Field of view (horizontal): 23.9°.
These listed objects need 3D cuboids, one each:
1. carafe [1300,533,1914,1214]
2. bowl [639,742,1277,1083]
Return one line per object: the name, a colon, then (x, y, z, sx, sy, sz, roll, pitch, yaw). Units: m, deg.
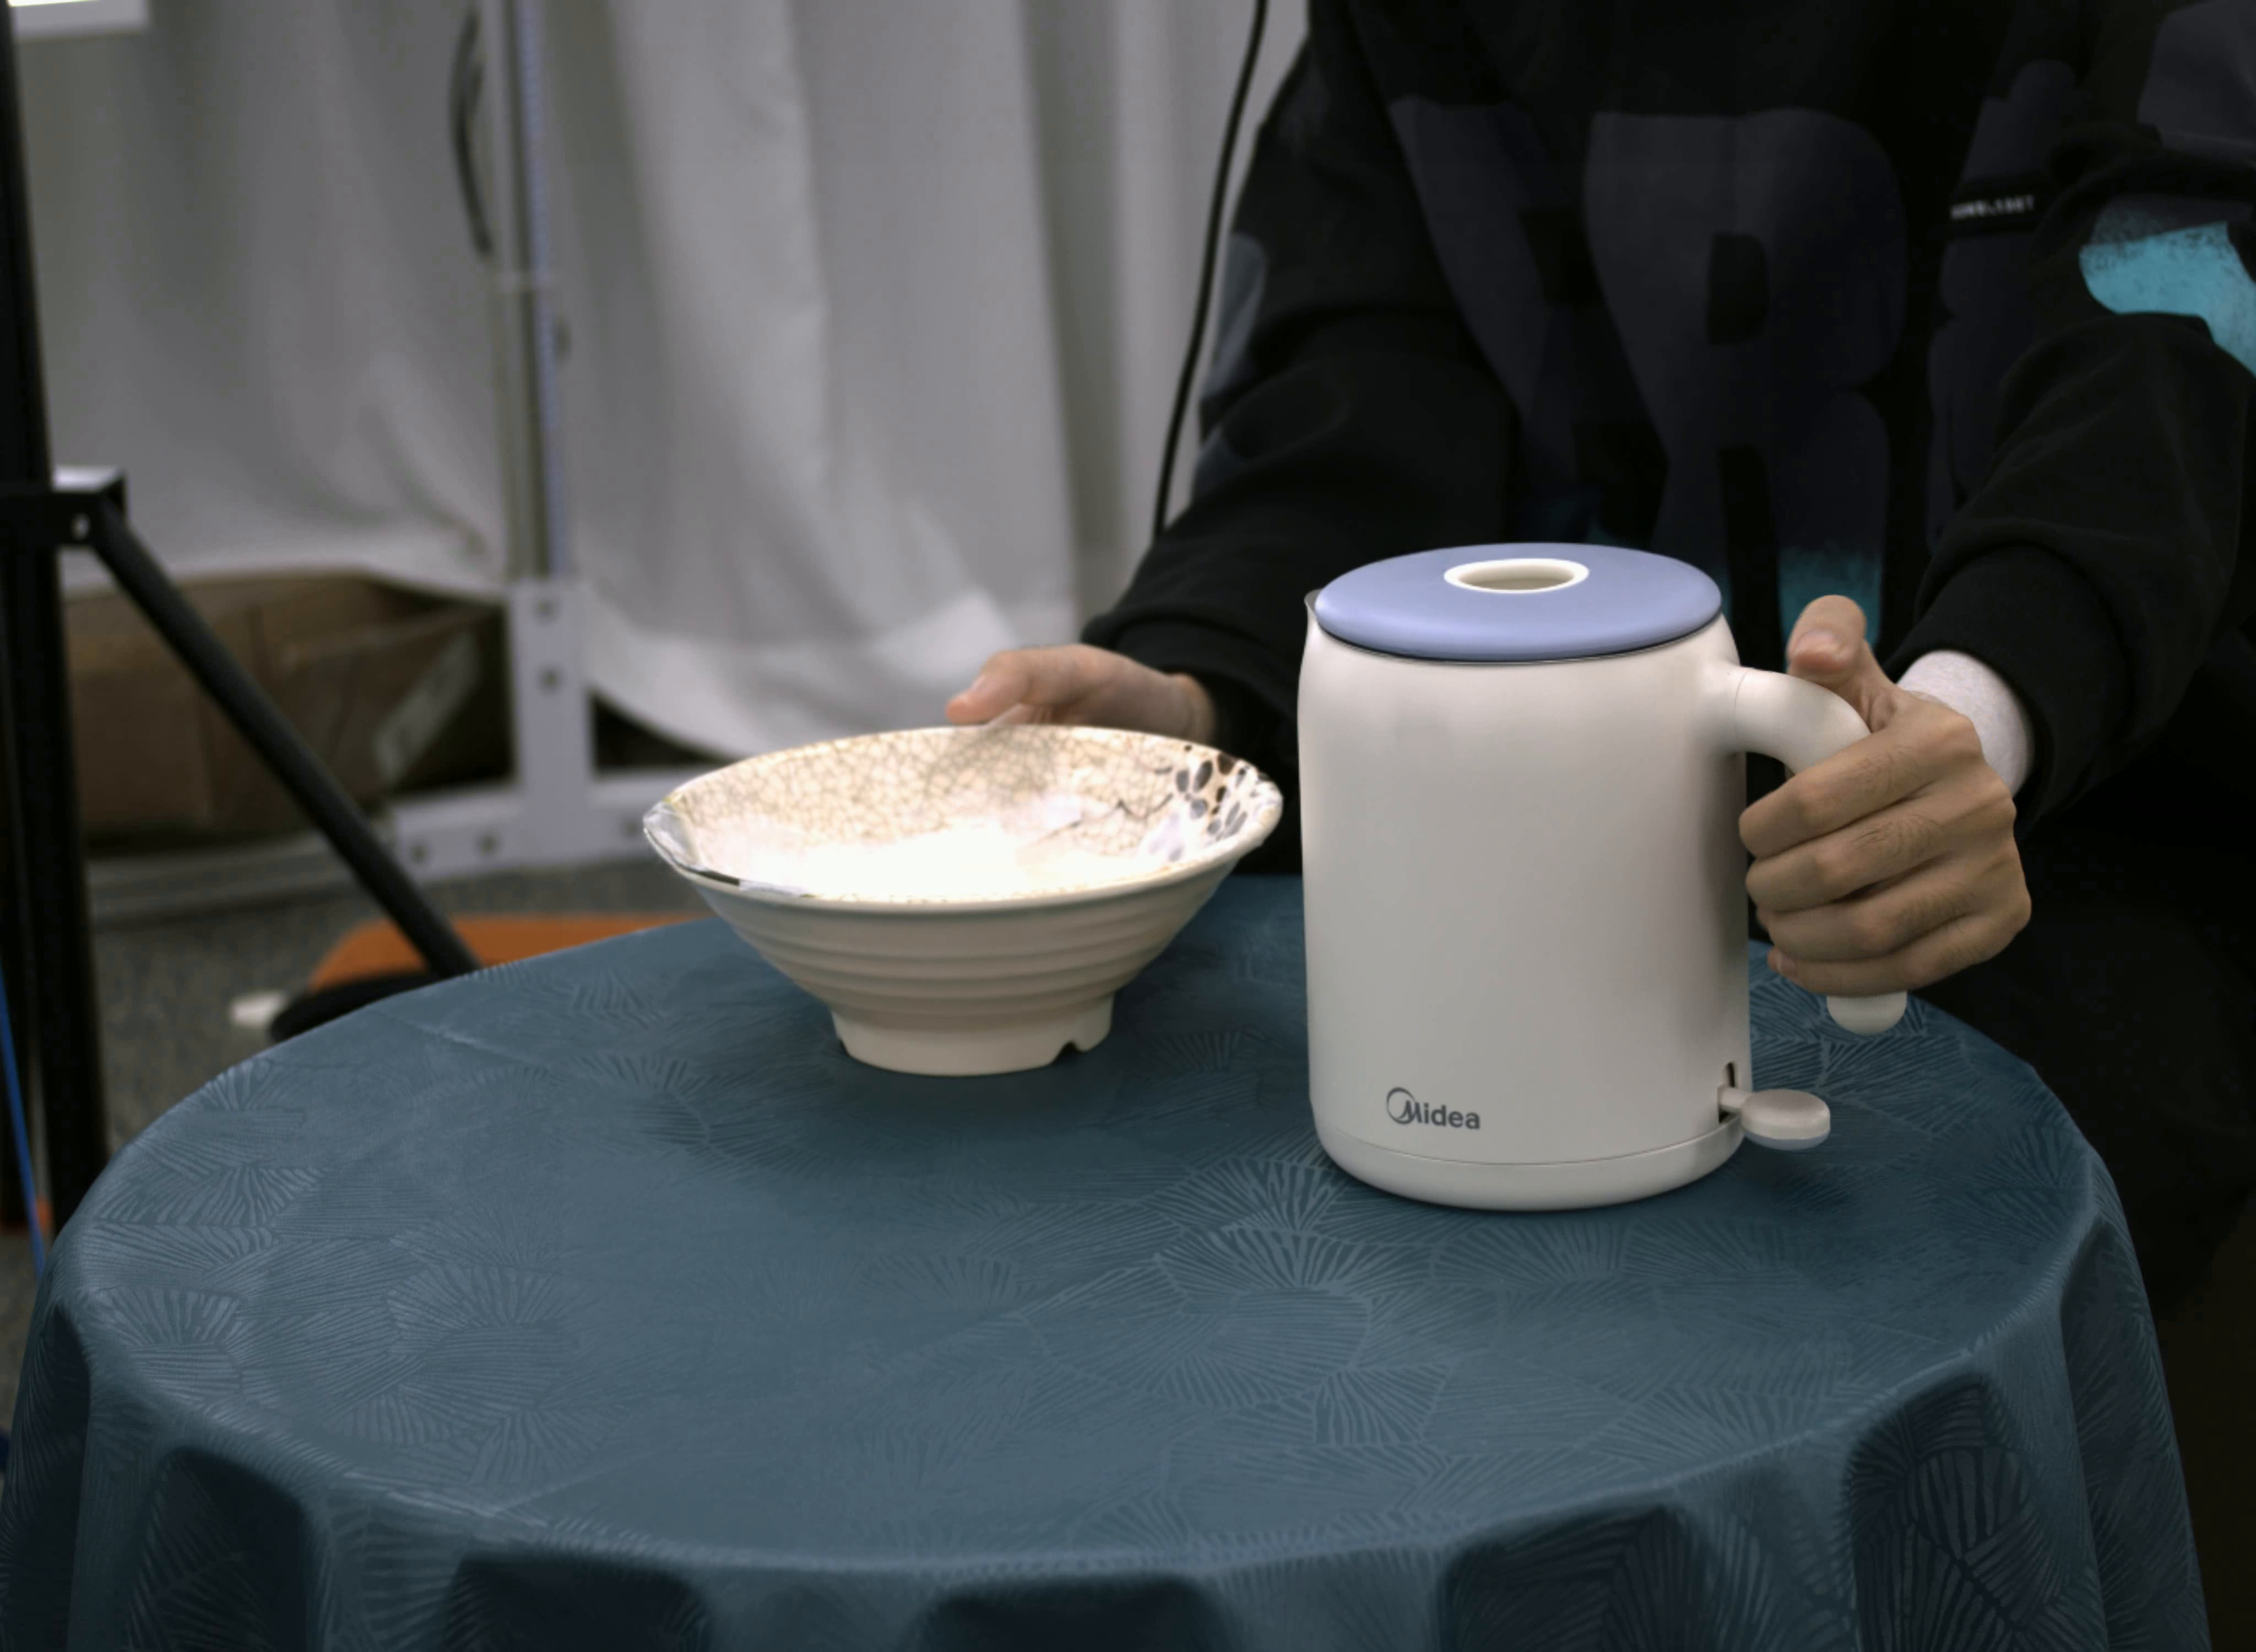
carafe: (0.138, 0.017, 1.546, 0.194, 0.182, 0.130, 9, 20, 28)
bowl: (-0.054, 0.033, 1.698, 0.203, 0.078, 0.205, -1, 13, -1)
